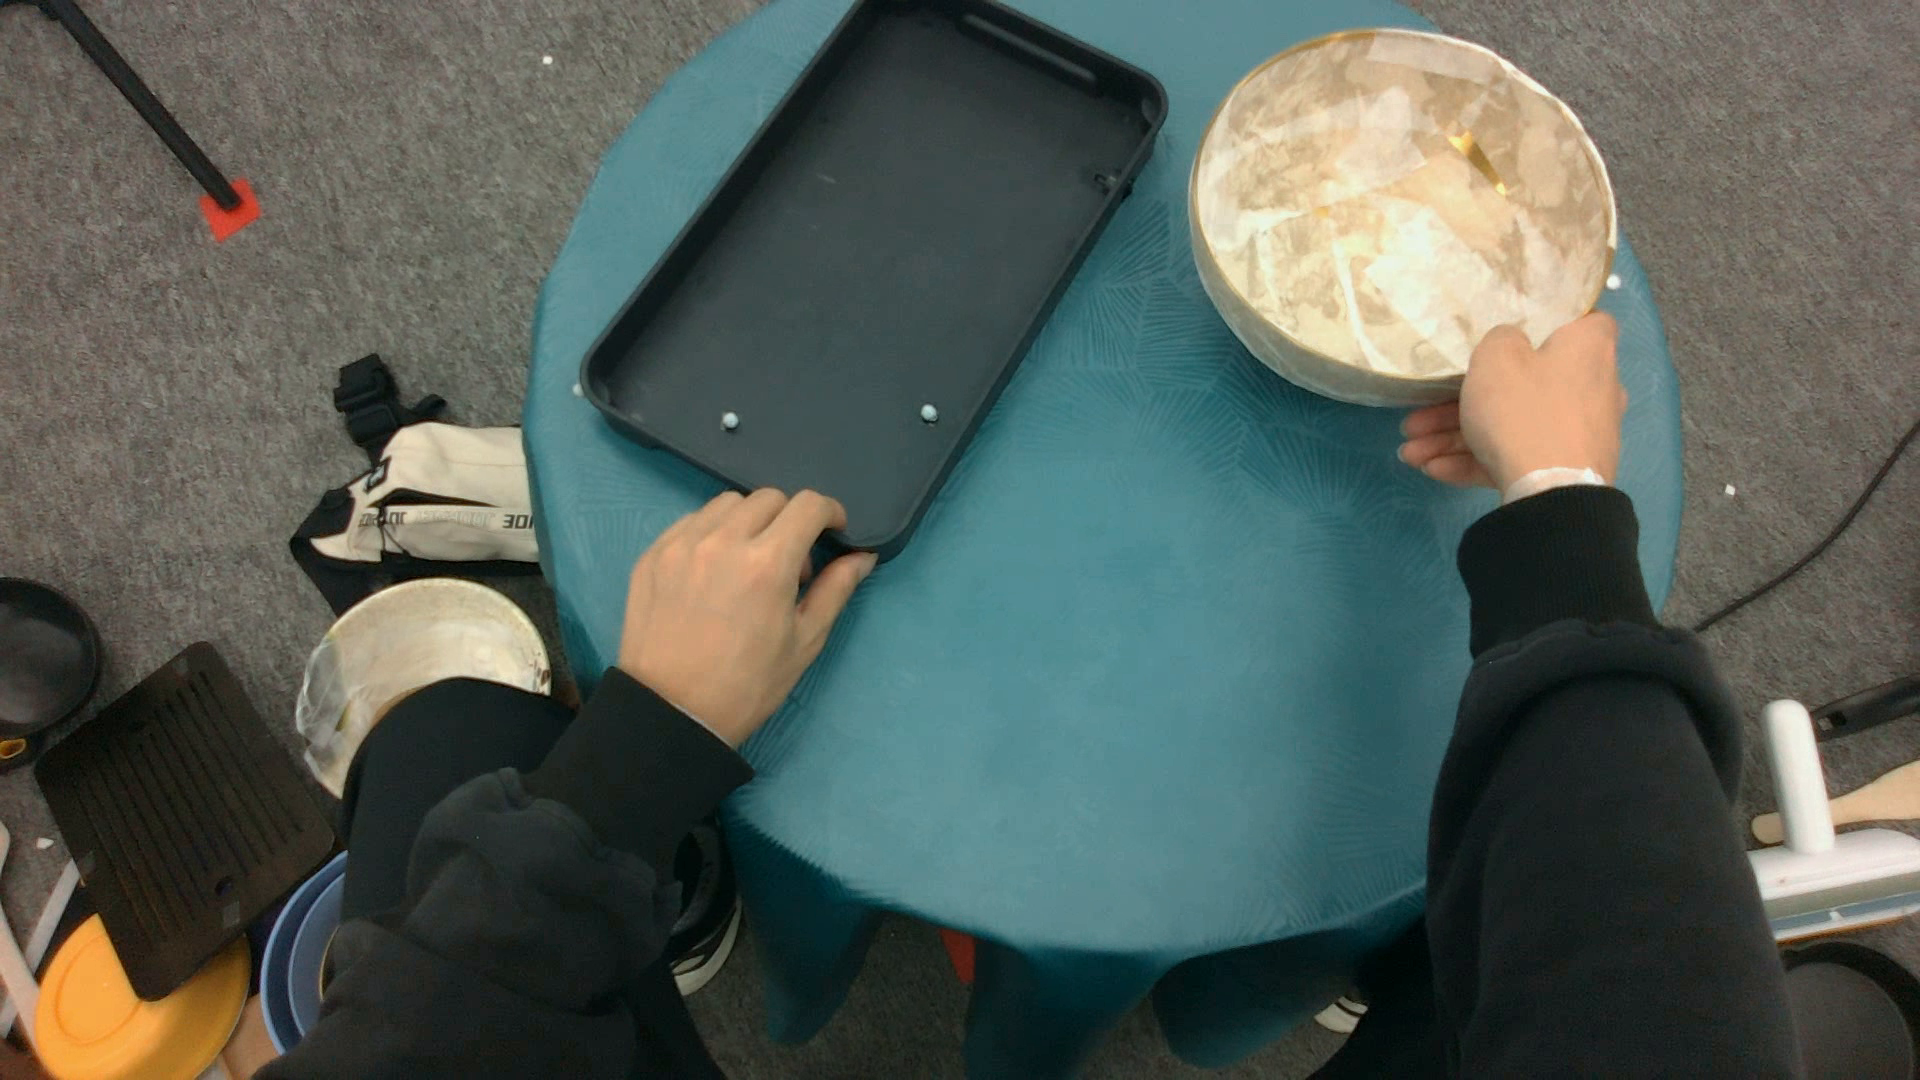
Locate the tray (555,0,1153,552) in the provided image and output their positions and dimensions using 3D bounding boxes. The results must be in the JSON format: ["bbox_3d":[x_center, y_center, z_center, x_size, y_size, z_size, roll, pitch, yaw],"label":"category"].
[{"bbox_3d":[-0.047,-0.158,0.725,0.184,0.037,0.319,30,69,10],"label":"tray"}]

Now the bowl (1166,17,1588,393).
[{"bbox_3d":[0.196,-0.155,0.700,0.215,0.094,0.215,1,68,-2],"label":"bowl"}]
